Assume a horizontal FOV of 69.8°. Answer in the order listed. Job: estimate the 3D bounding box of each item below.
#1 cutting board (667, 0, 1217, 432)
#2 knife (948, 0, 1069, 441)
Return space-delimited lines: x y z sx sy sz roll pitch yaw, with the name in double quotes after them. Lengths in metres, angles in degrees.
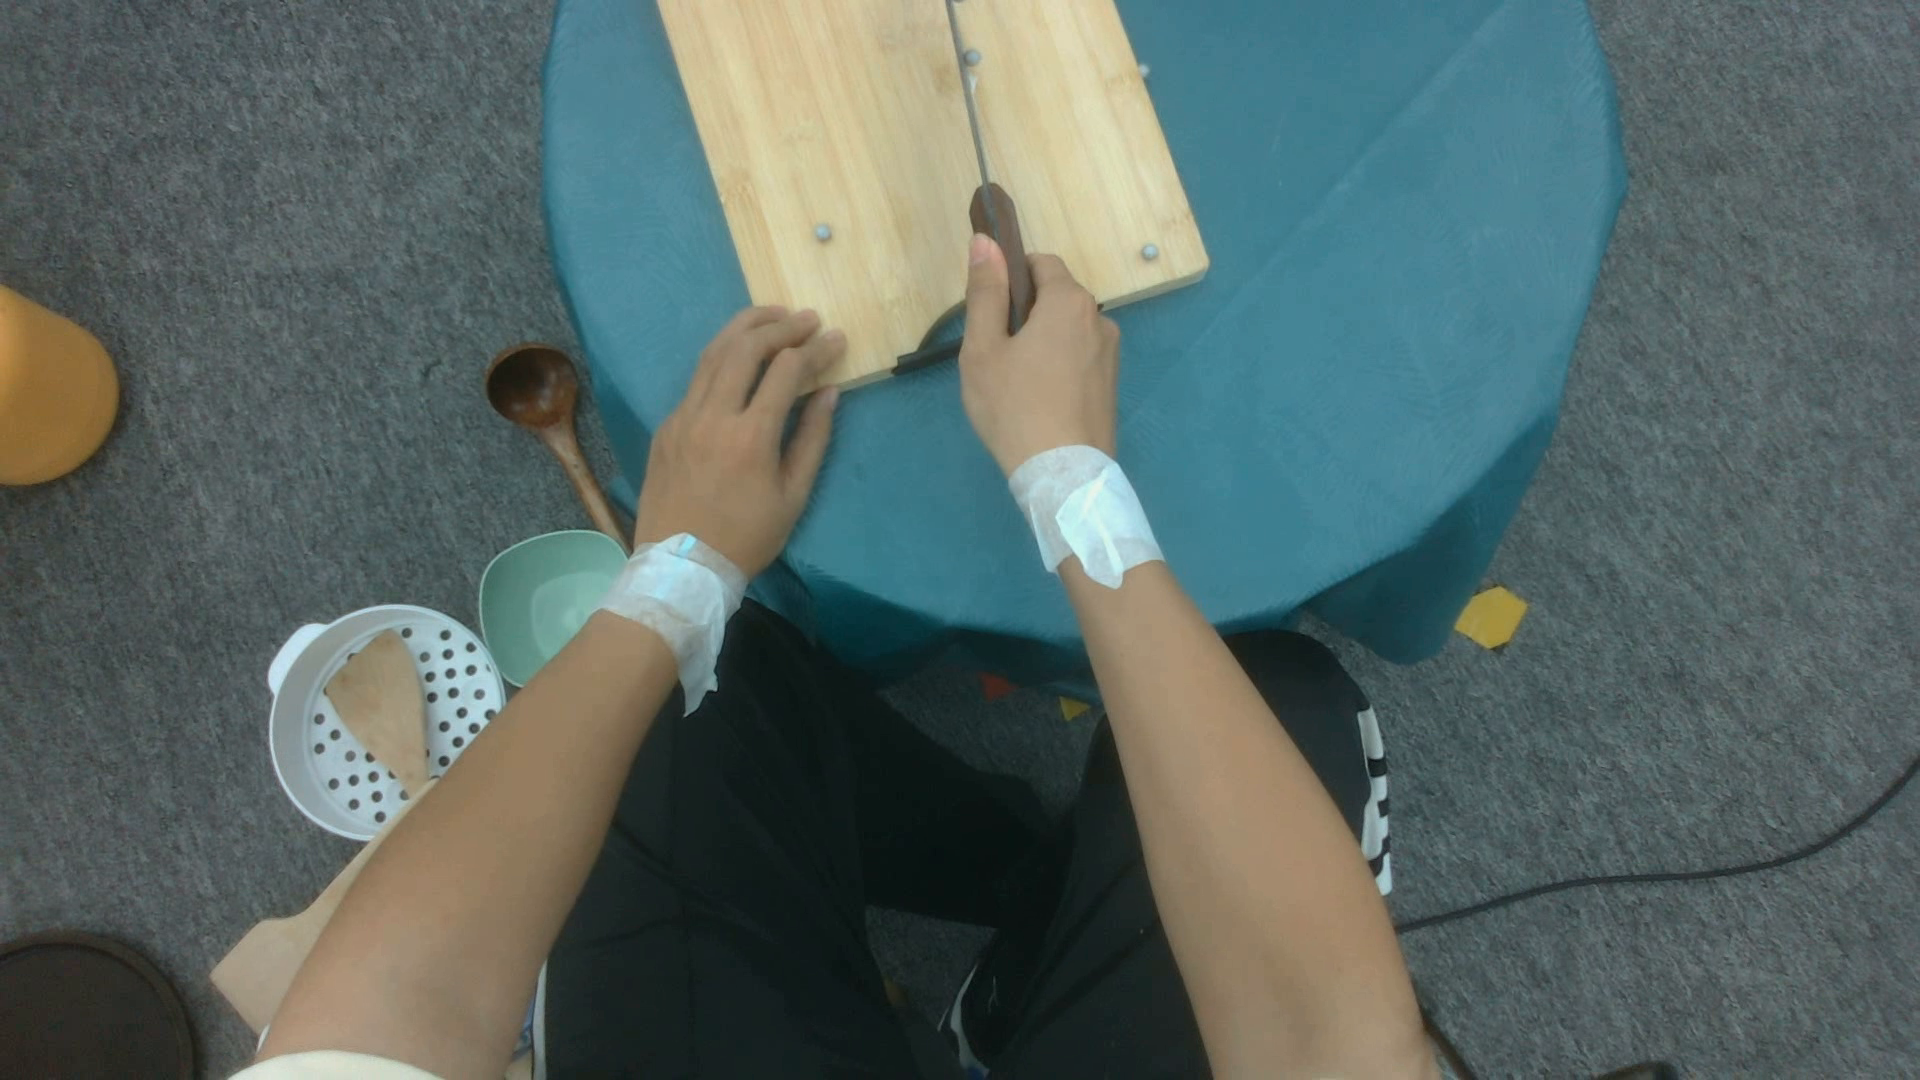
-0.026 -0.257 0.782 0.251 0.023 0.349 -19 79 -4 "cutting board"
0.017 -0.187 0.716 0.024 0.068 0.300 -13 77 6 "knife"
